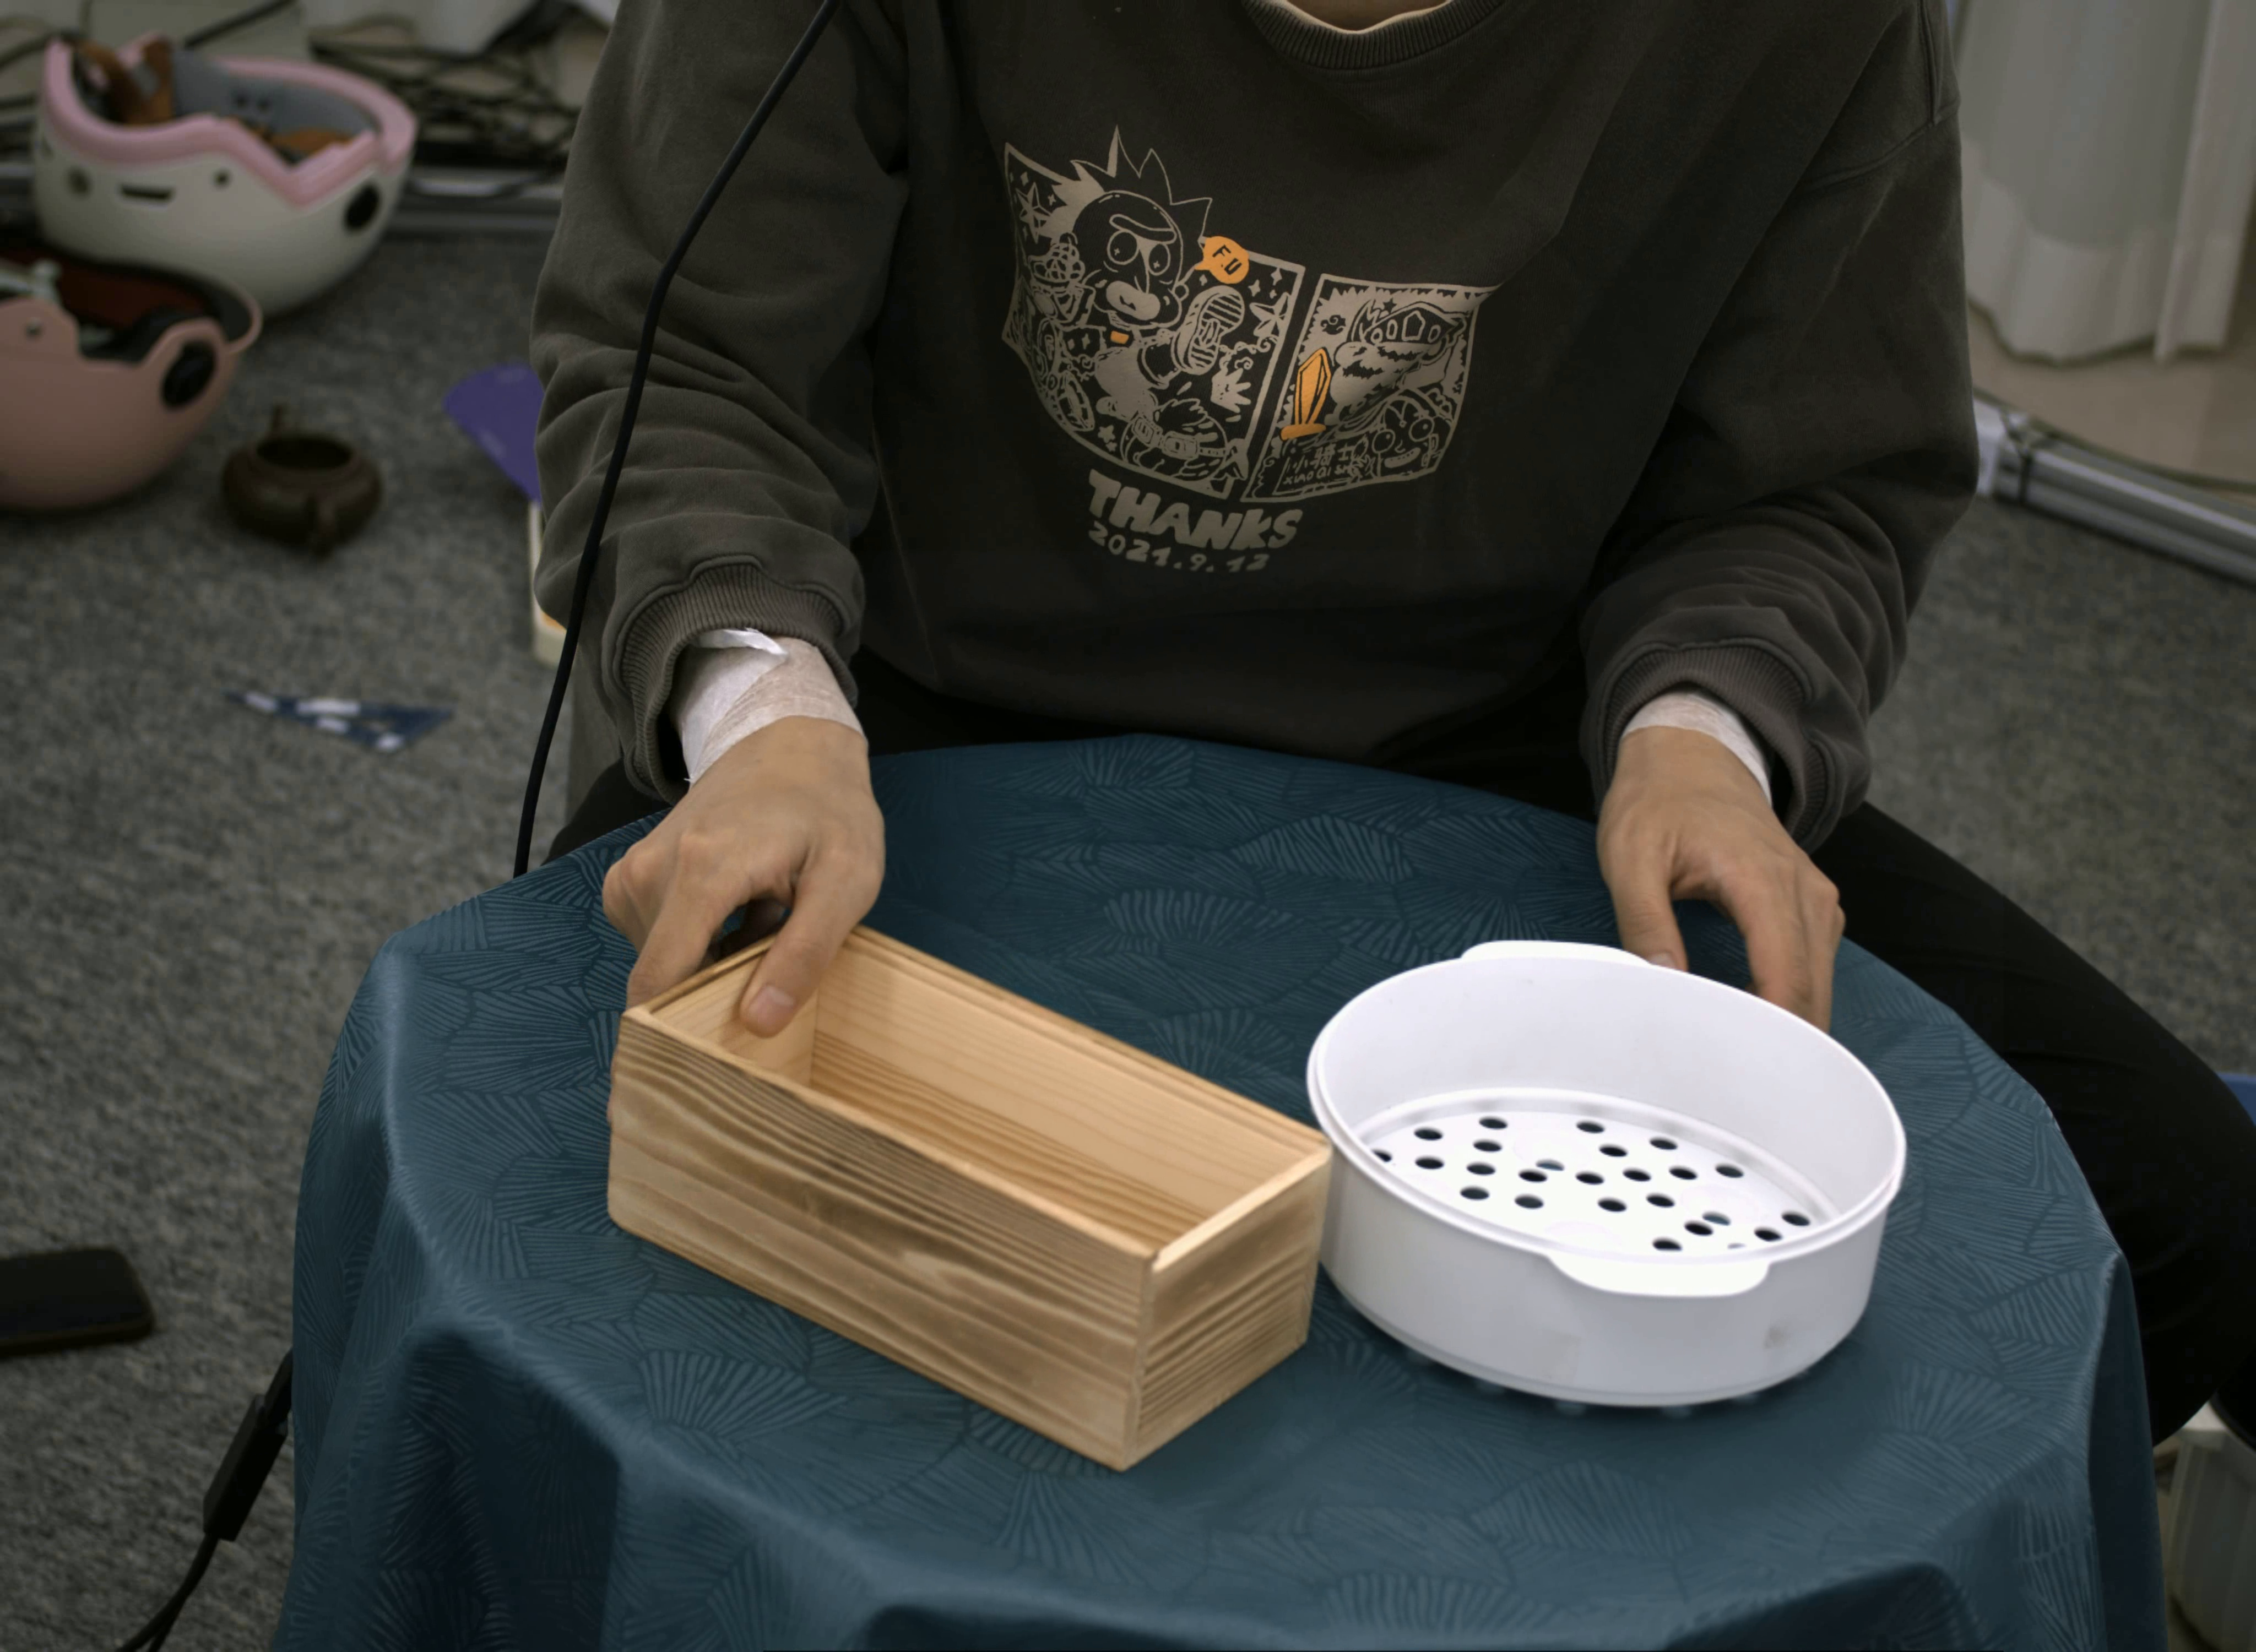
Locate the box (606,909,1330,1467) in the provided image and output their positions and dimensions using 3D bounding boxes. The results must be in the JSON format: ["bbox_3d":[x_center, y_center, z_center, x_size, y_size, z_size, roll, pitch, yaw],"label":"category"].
[{"bbox_3d":[-0.054,0.113,1.722,0.212,0.080,0.107,23,30,29],"label":"box"}]

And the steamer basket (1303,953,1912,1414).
[{"bbox_3d":[0.156,0.120,1.770,0.201,0.069,0.232,3,26,-7],"label":"steamer basket"}]
